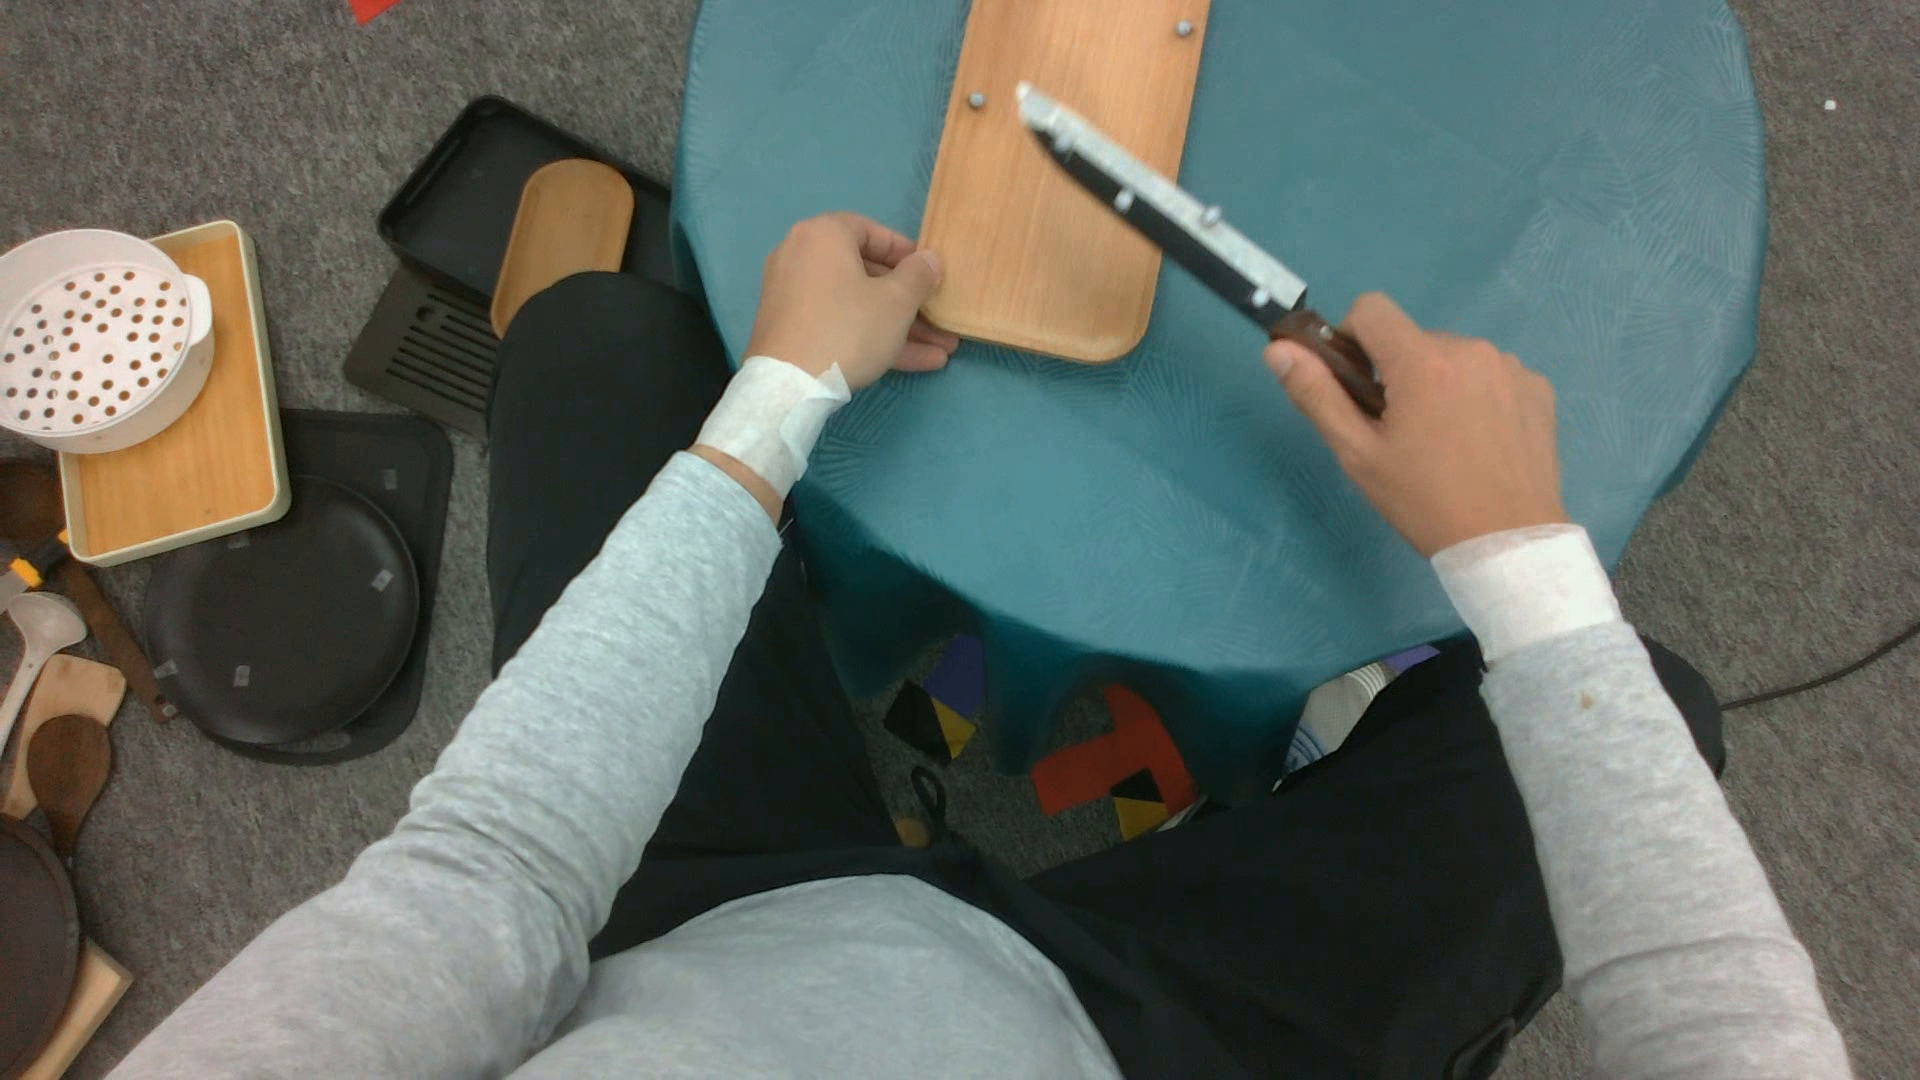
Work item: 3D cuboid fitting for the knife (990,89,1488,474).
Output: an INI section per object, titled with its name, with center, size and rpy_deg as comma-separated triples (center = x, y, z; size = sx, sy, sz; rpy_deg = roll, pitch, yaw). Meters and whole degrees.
[knife]
center = 0.128, -0.124, 0.645
size = 0.289, 0.020, 0.050
rpy_deg = 37, 50, 1

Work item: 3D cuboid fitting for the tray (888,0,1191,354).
[tray]
center = 0.046, -0.222, 0.743
size = 0.130, 0.023, 0.251
rpy_deg = 12, 76, 2
